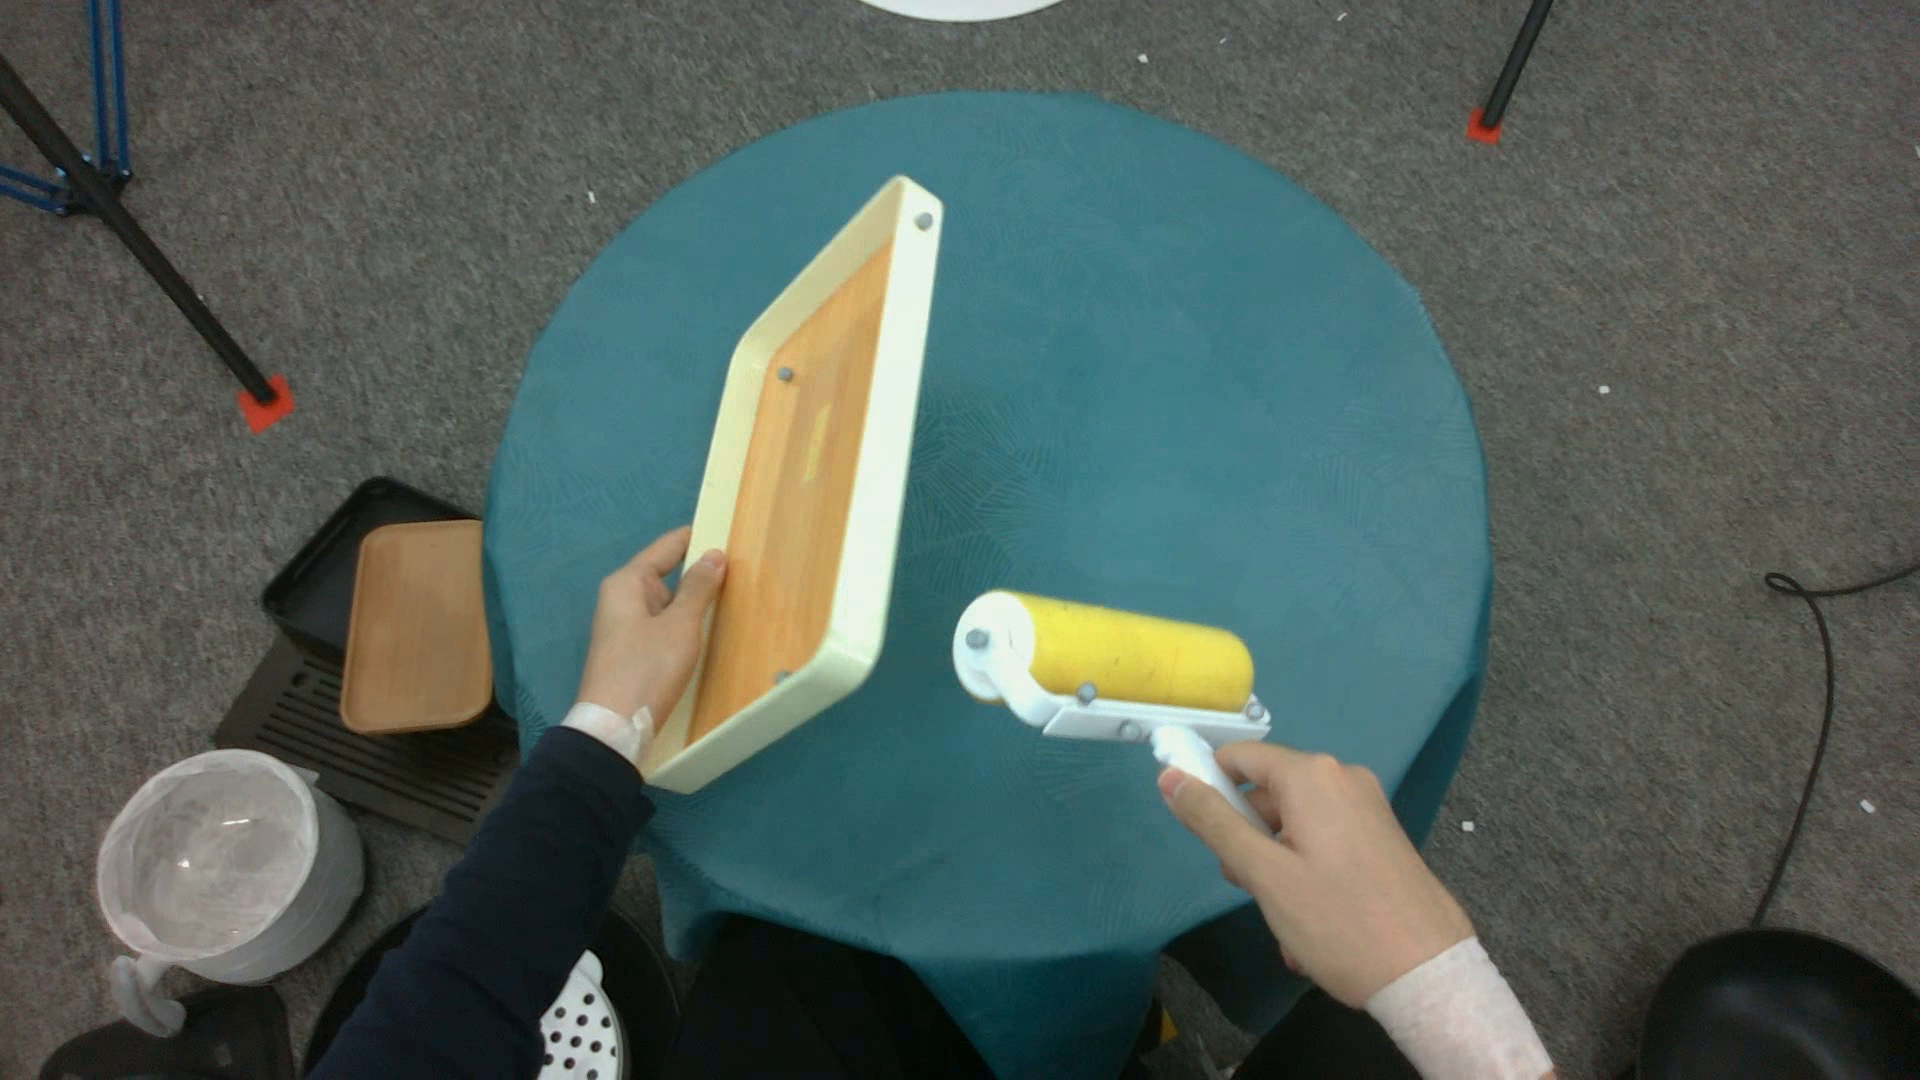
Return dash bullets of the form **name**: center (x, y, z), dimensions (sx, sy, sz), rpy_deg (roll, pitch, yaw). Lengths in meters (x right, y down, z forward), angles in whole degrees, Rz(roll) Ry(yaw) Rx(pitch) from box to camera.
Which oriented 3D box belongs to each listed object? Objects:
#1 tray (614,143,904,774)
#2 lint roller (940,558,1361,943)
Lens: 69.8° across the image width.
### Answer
- **tray**: center (-0.100, -0.045, 0.703), dimensions (0.027, 0.190, 0.301), rpy_deg (24, 53, -27)
- **lint roller**: center (0.103, 0.081, 0.574), dimensions (0.192, 0.174, 0.051), rpy_deg (44, 112, 38)
